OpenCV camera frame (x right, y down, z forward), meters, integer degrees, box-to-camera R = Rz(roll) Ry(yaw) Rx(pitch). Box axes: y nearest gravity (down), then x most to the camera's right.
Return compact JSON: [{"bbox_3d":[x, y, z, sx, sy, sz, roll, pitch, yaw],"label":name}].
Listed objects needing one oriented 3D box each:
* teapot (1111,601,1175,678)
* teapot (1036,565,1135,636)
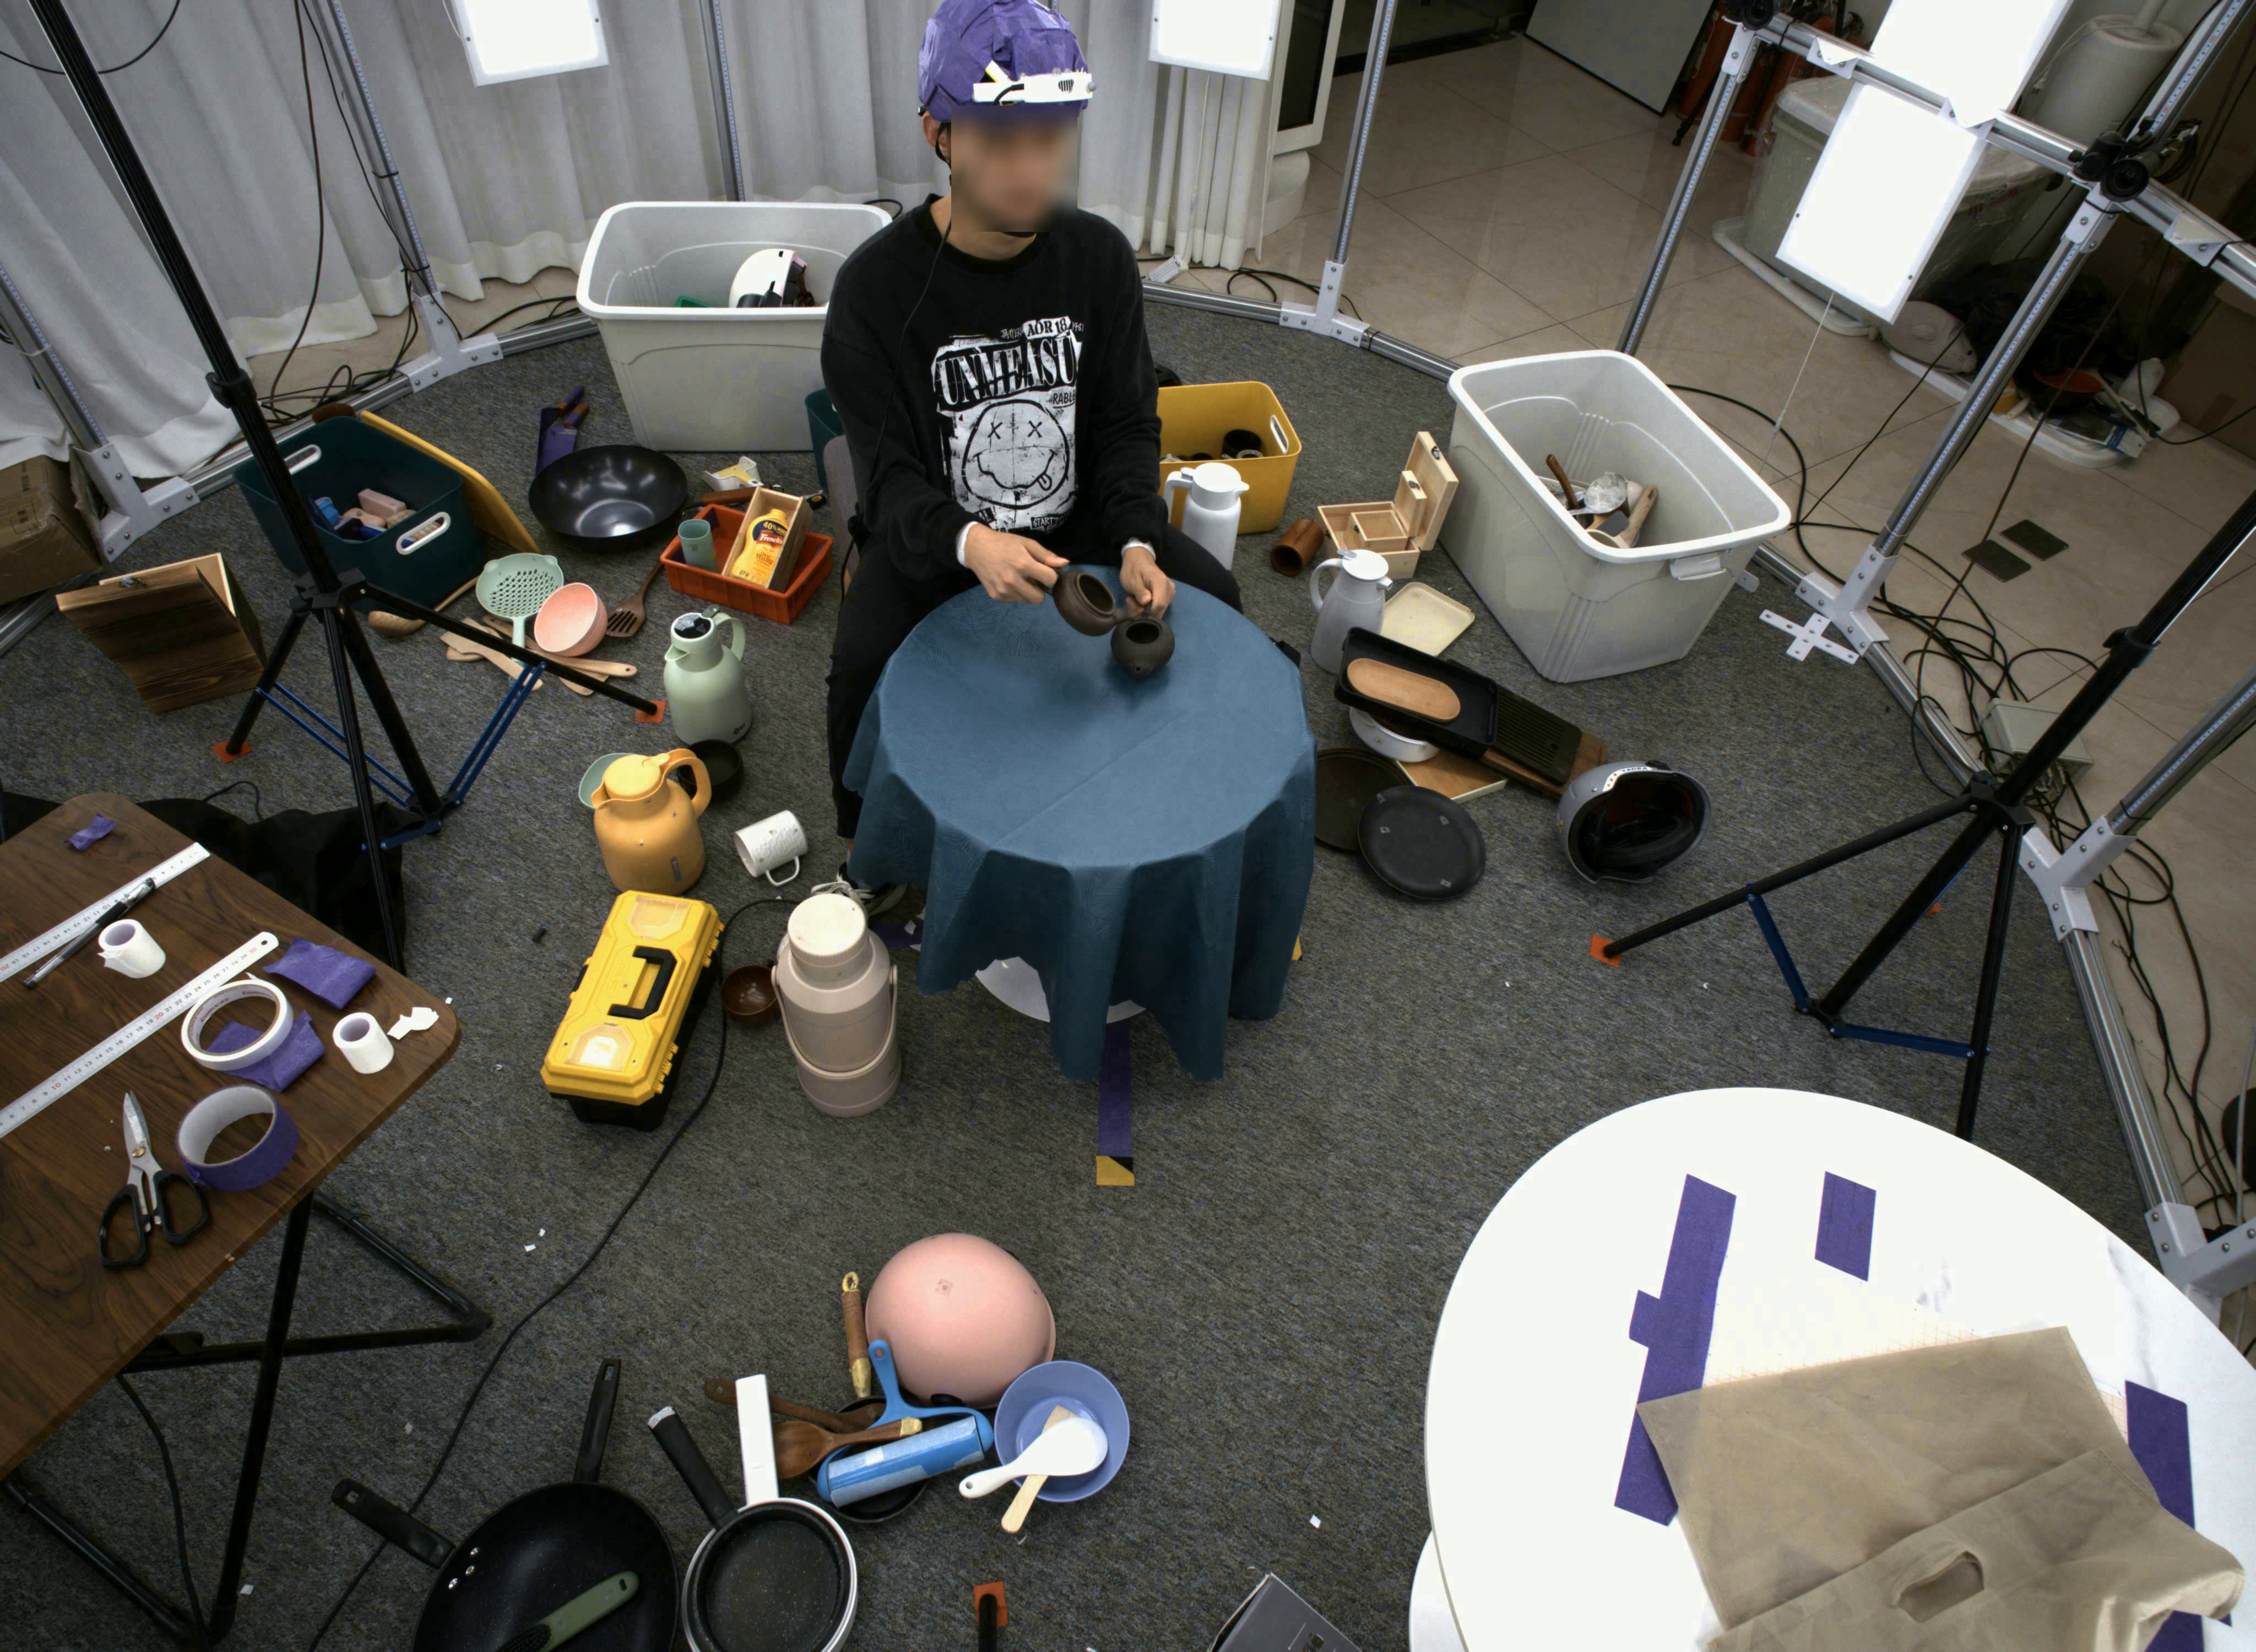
[{"bbox_3d":[0.022,-0.265,1.858,0.092,0.063,0.158,7,51,3],"label":"teapot"},{"bbox_3d":[-0.061,-0.311,1.769,0.151,0.053,0.105,25,39,-35],"label":"teapot"}]
